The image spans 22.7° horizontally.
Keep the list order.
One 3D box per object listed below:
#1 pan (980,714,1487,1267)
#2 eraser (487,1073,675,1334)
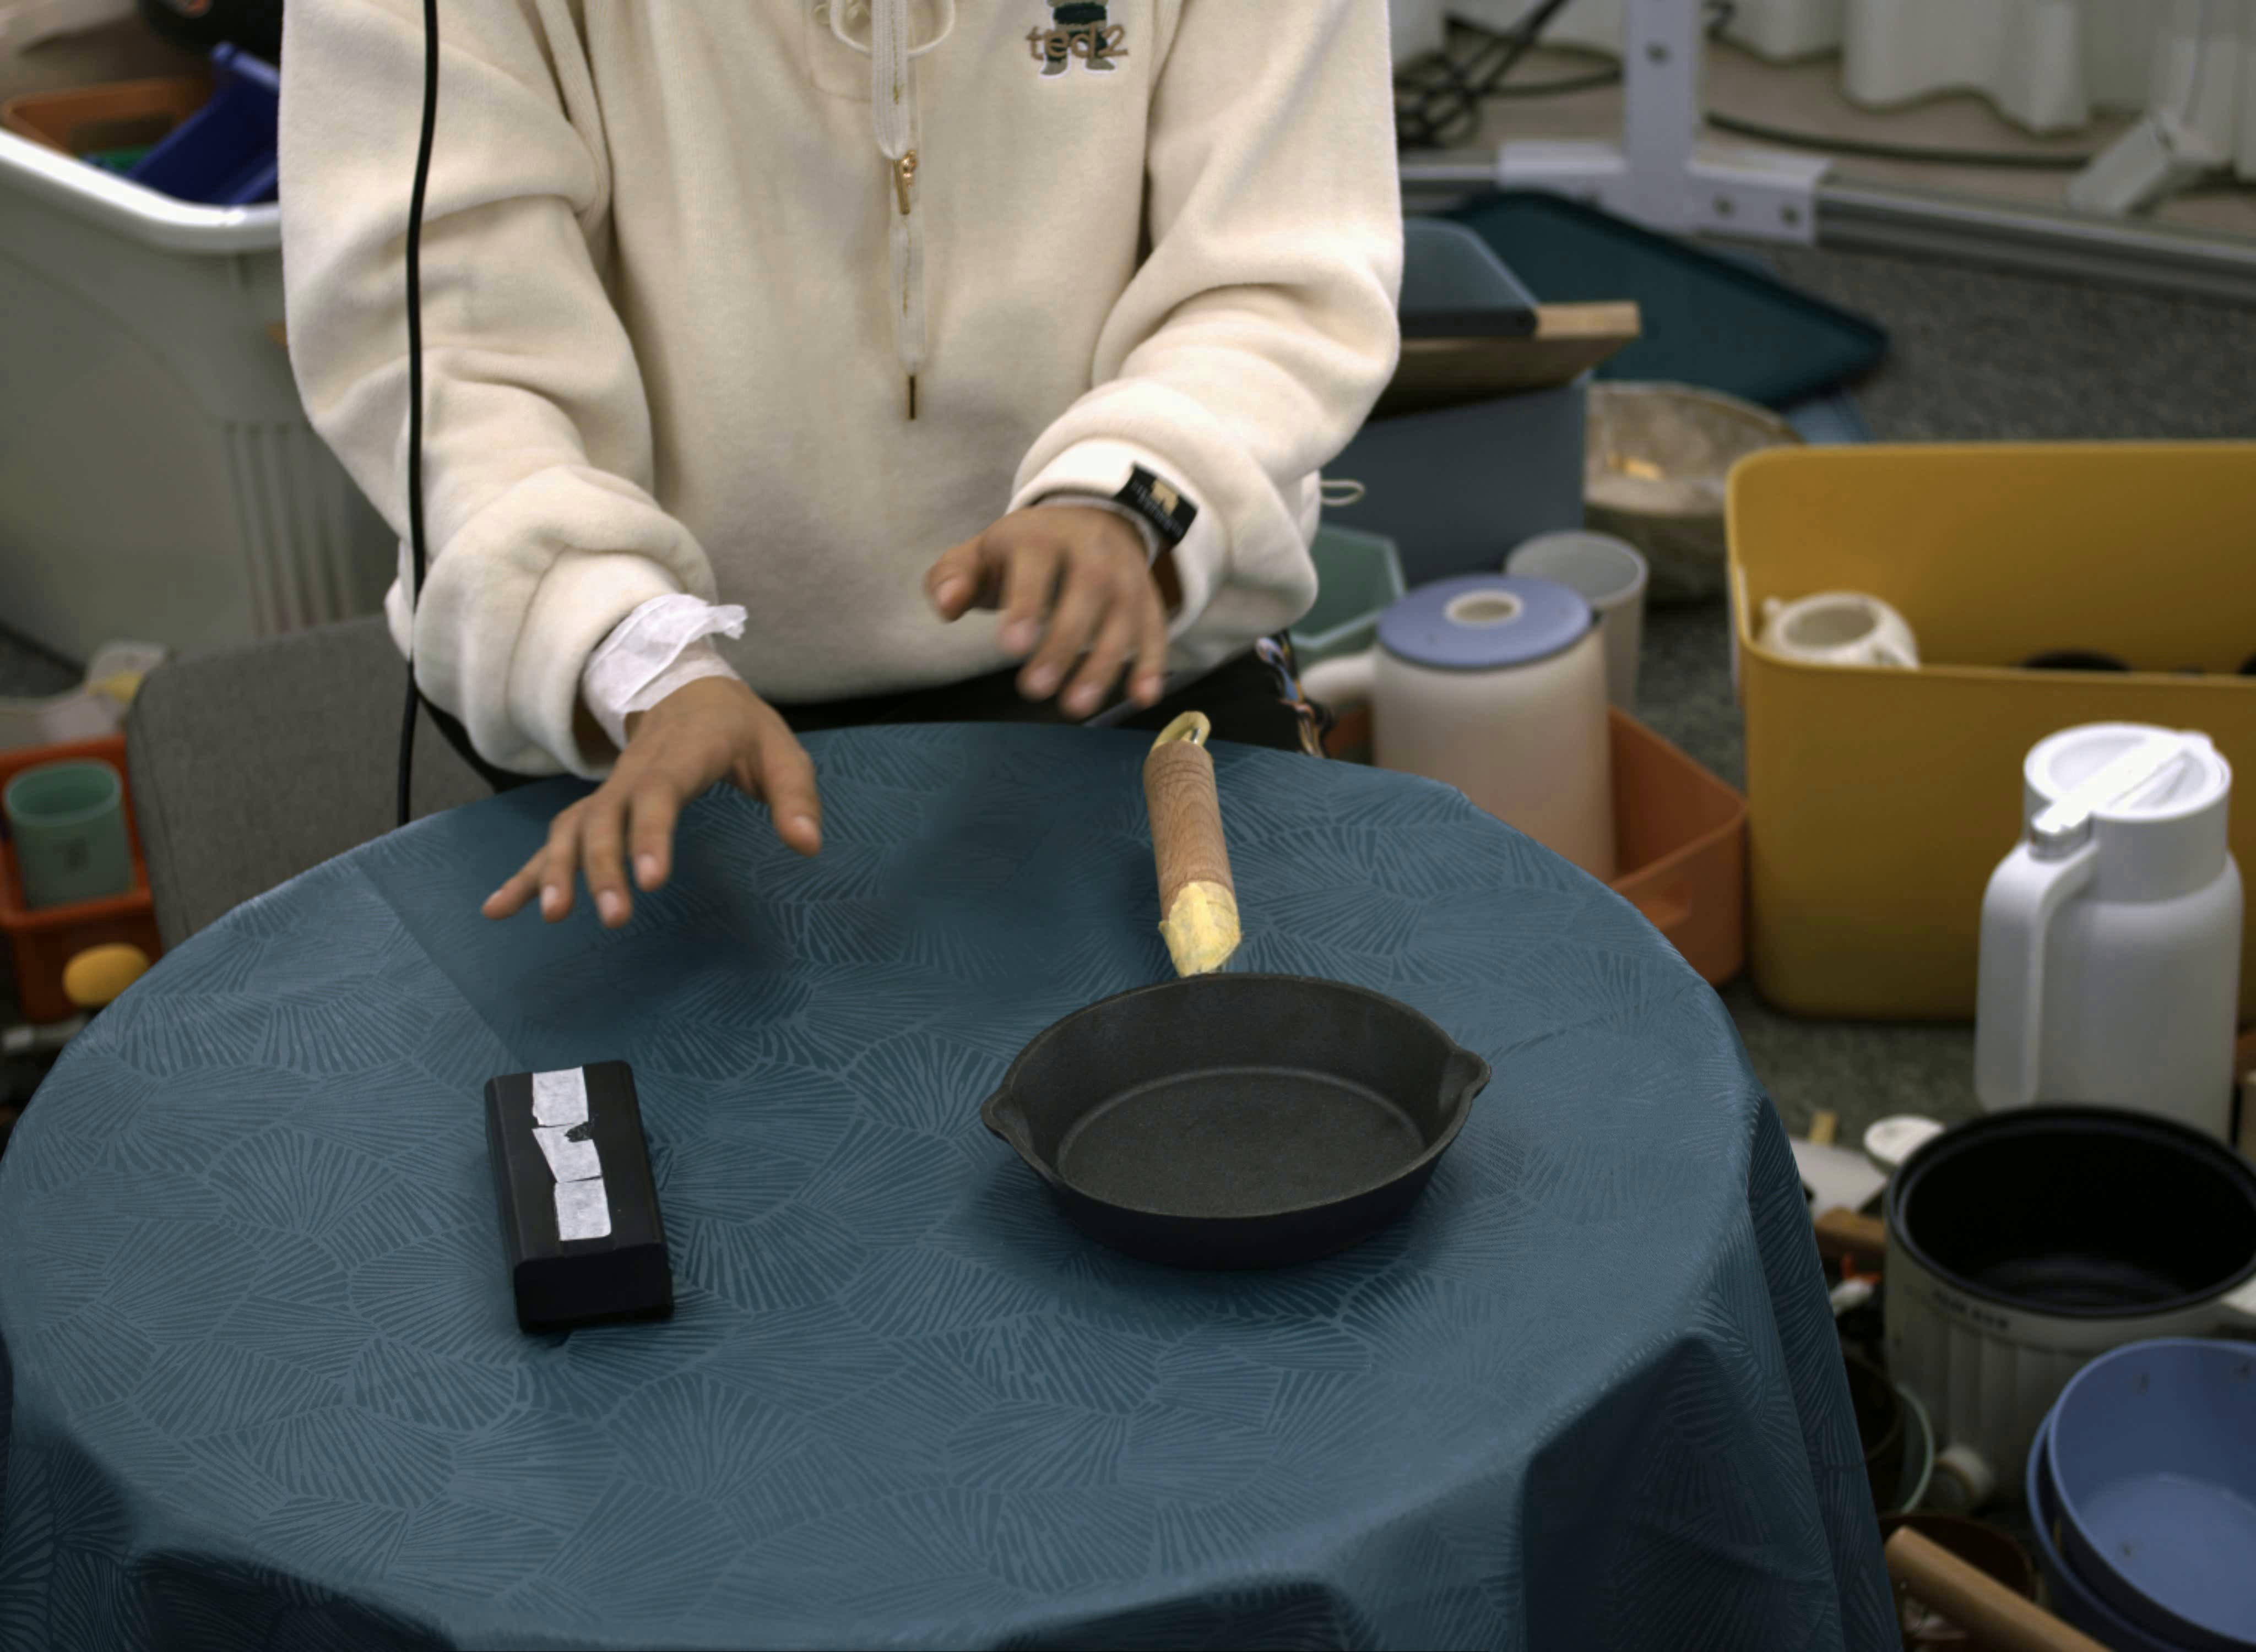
[{"bbox_3d":[0.031,0.054,1.934,0.168,0.049,0.329,-5,28,-1],"label":"pan"},{"bbox_3d":[-0.180,0.124,1.847,0.053,0.030,0.127,-6,26,-8],"label":"eraser"}]
